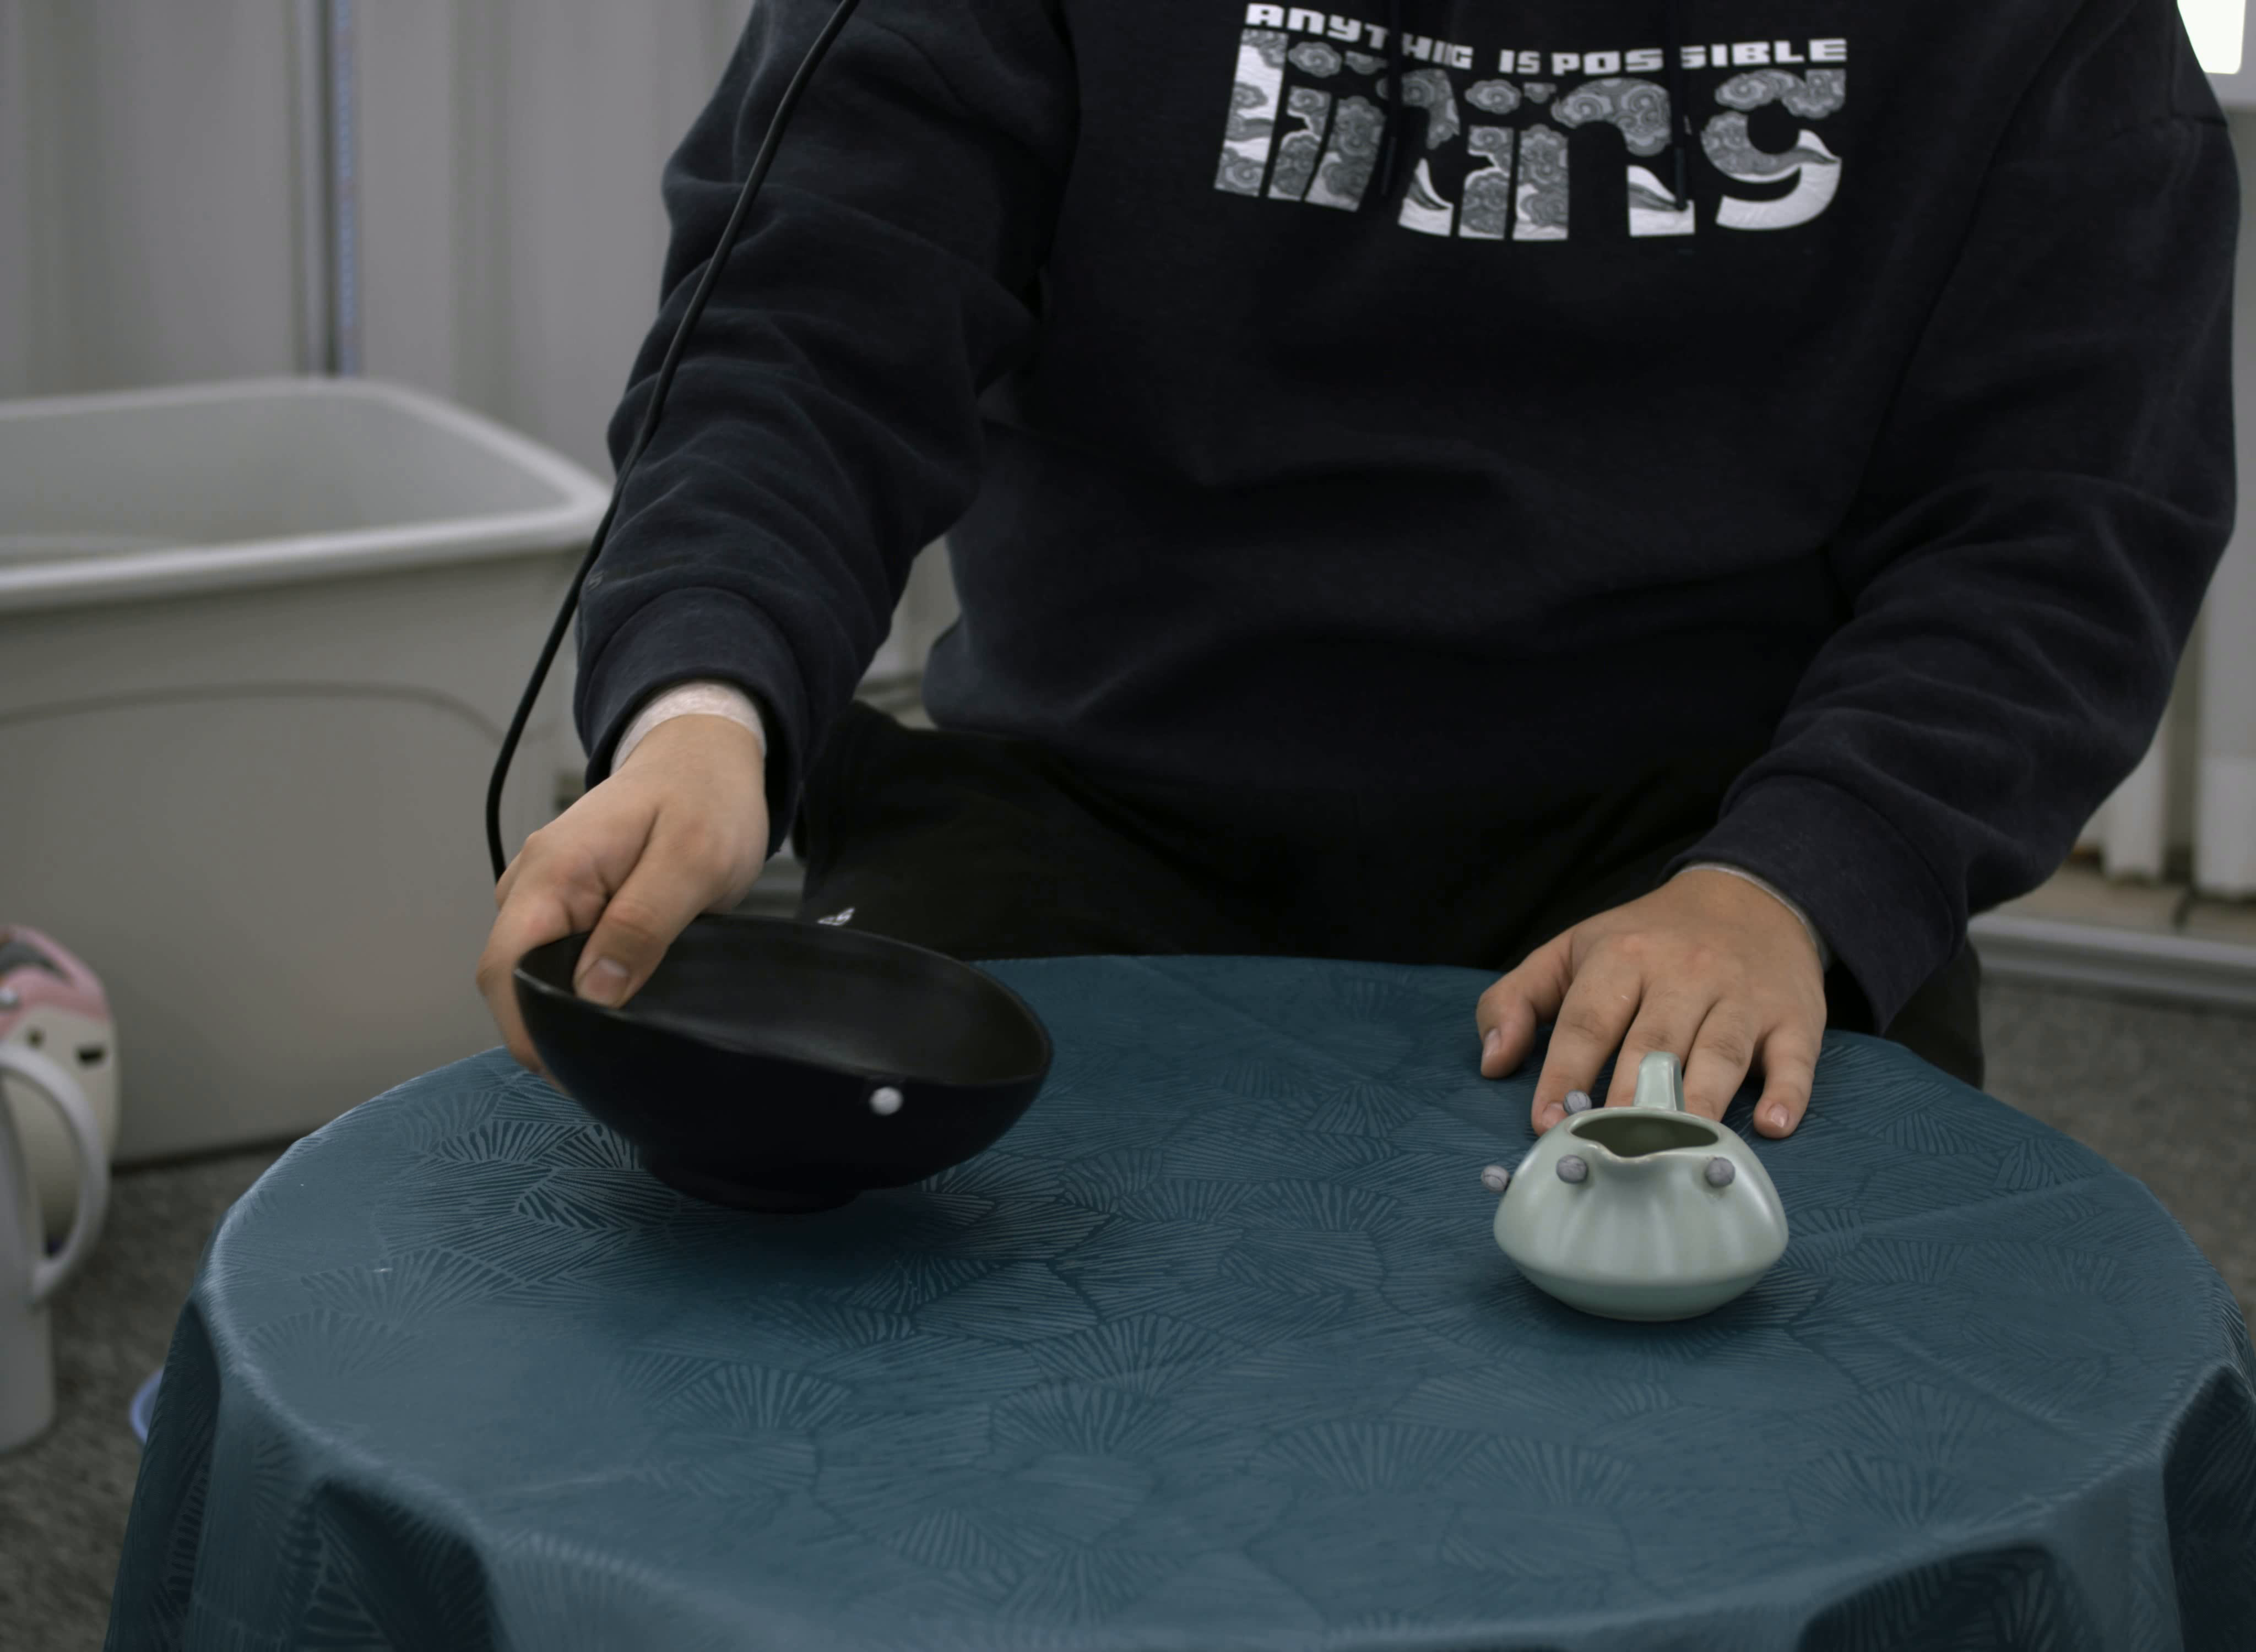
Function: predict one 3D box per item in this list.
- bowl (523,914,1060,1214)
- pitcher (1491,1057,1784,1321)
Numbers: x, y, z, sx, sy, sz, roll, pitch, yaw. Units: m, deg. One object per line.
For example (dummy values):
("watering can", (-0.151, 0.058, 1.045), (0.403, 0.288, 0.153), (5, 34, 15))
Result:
("bowl", (-0.106, 0.076, 1.587), (0.169, 0.067, 0.137), (14, 16, 16))
("pitcher", (0.151, 0.107, 1.549), (0.085, 0.061, 0.108), (4, 14, 9))
